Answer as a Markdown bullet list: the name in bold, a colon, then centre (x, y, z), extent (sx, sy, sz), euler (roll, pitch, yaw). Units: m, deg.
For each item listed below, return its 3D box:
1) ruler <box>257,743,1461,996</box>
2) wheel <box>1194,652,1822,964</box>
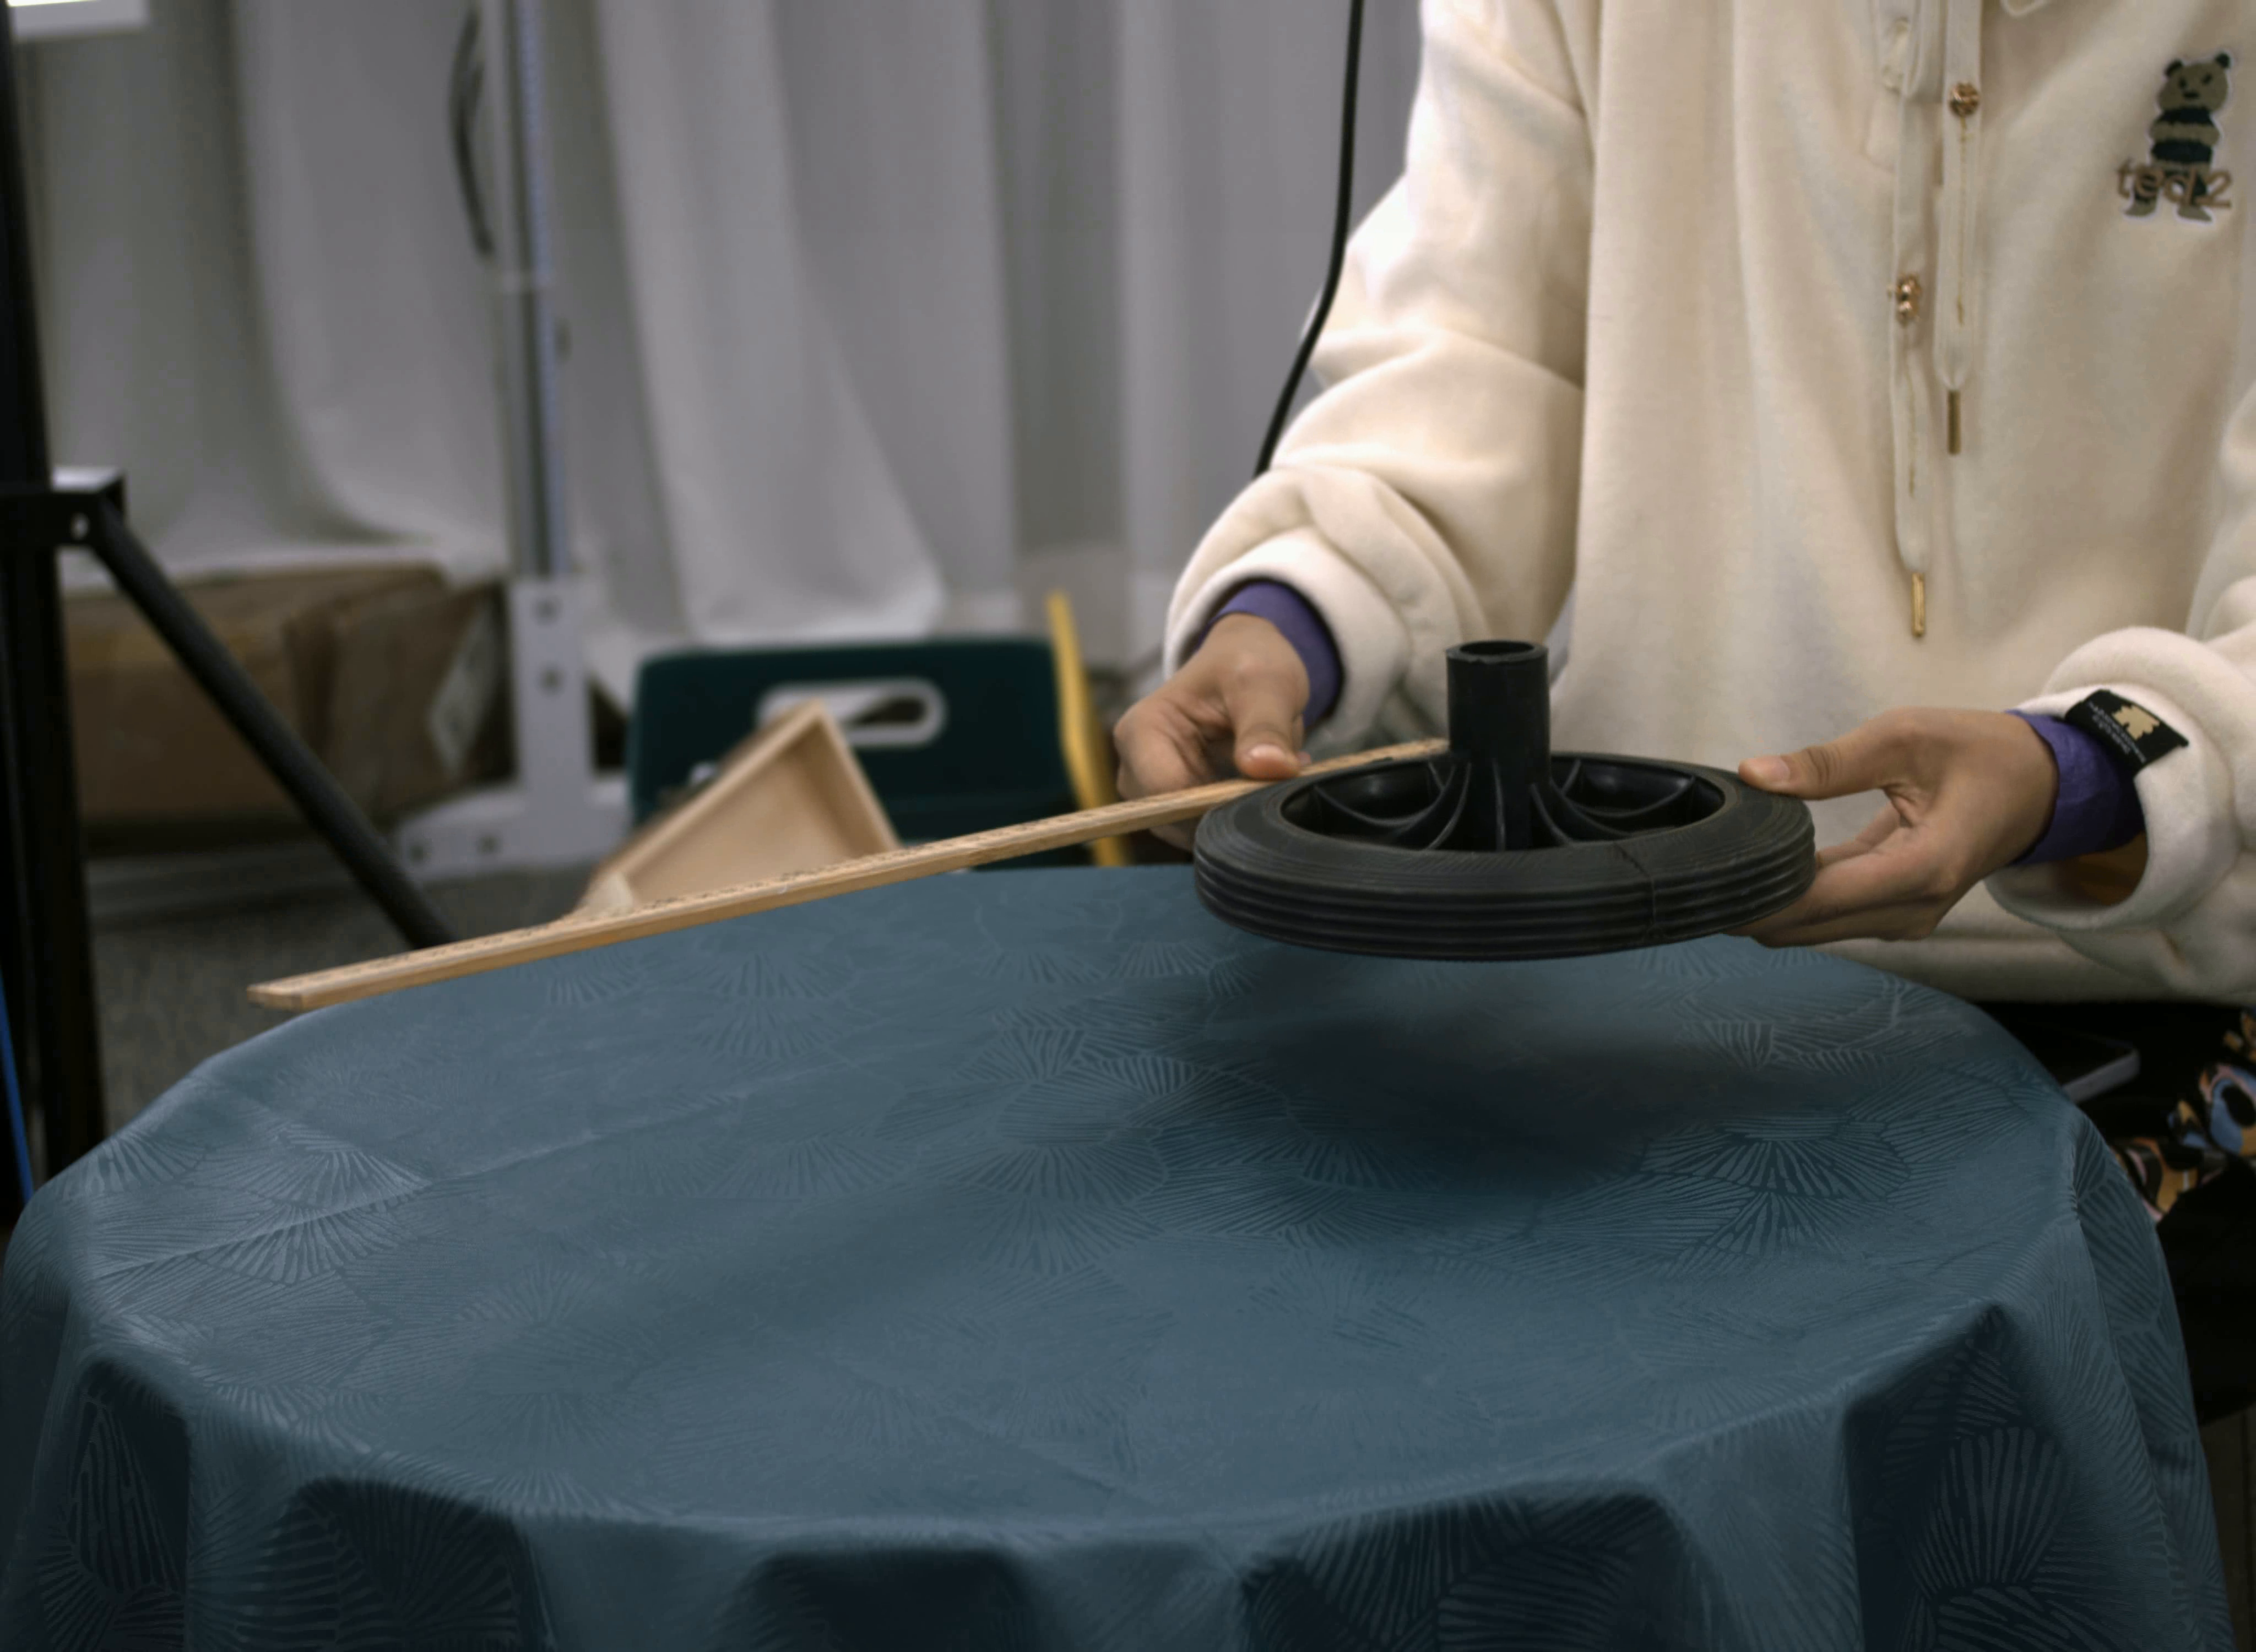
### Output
- **ruler**: centre (-0.054, 0.009, 1.589), extent (0.027, 0.006, 0.488), euler (3, 10, 45)
- **wheel**: centre (0.114, -0.010, 1.602), extent (0.191, 0.079, 0.186), euler (1, 13, 14)
